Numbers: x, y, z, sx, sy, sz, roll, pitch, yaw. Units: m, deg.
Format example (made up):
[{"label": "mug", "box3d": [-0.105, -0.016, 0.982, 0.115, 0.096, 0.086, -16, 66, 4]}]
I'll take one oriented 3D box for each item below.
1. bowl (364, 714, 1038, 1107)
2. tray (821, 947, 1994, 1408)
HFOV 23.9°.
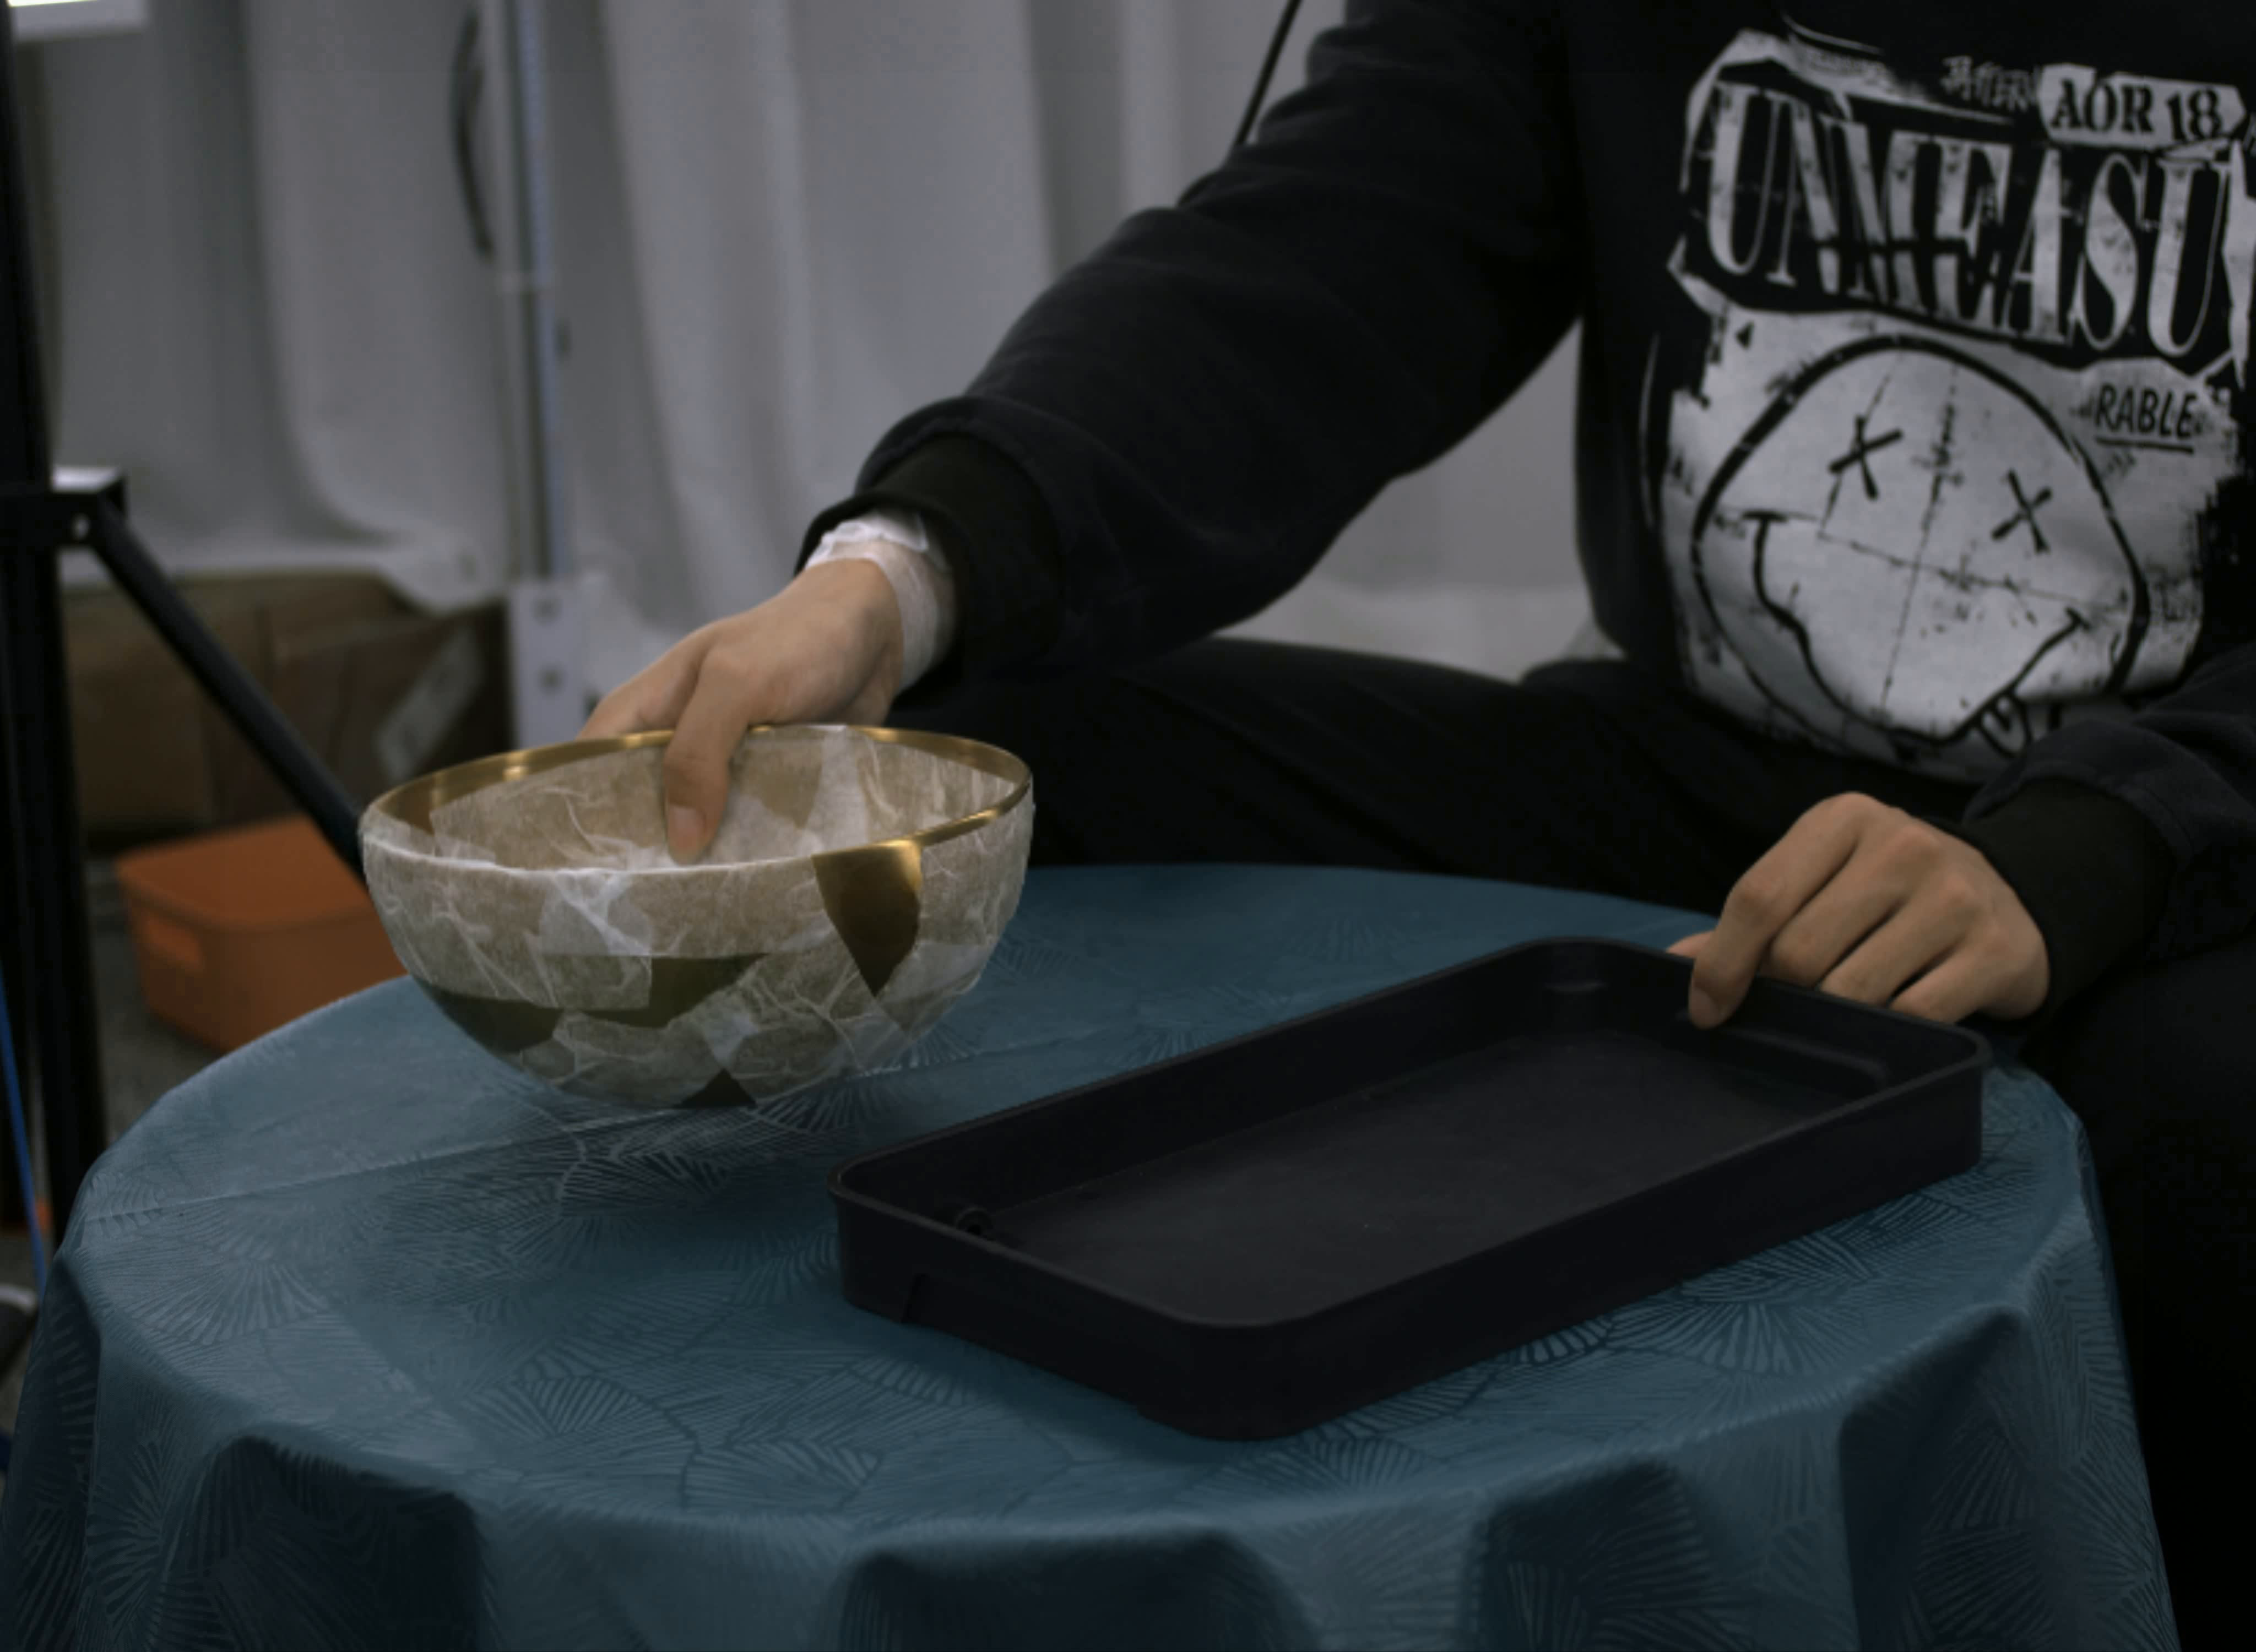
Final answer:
[{"label": "bowl", "box3d": [-0.122, 0.031, 1.600, 0.213, 0.094, 0.215, -4, 12, -1]}, {"label": "tray", "box3d": [0.084, 0.094, 1.514, 0.310, 0.037, 0.188, -13, 17, -38]}]
